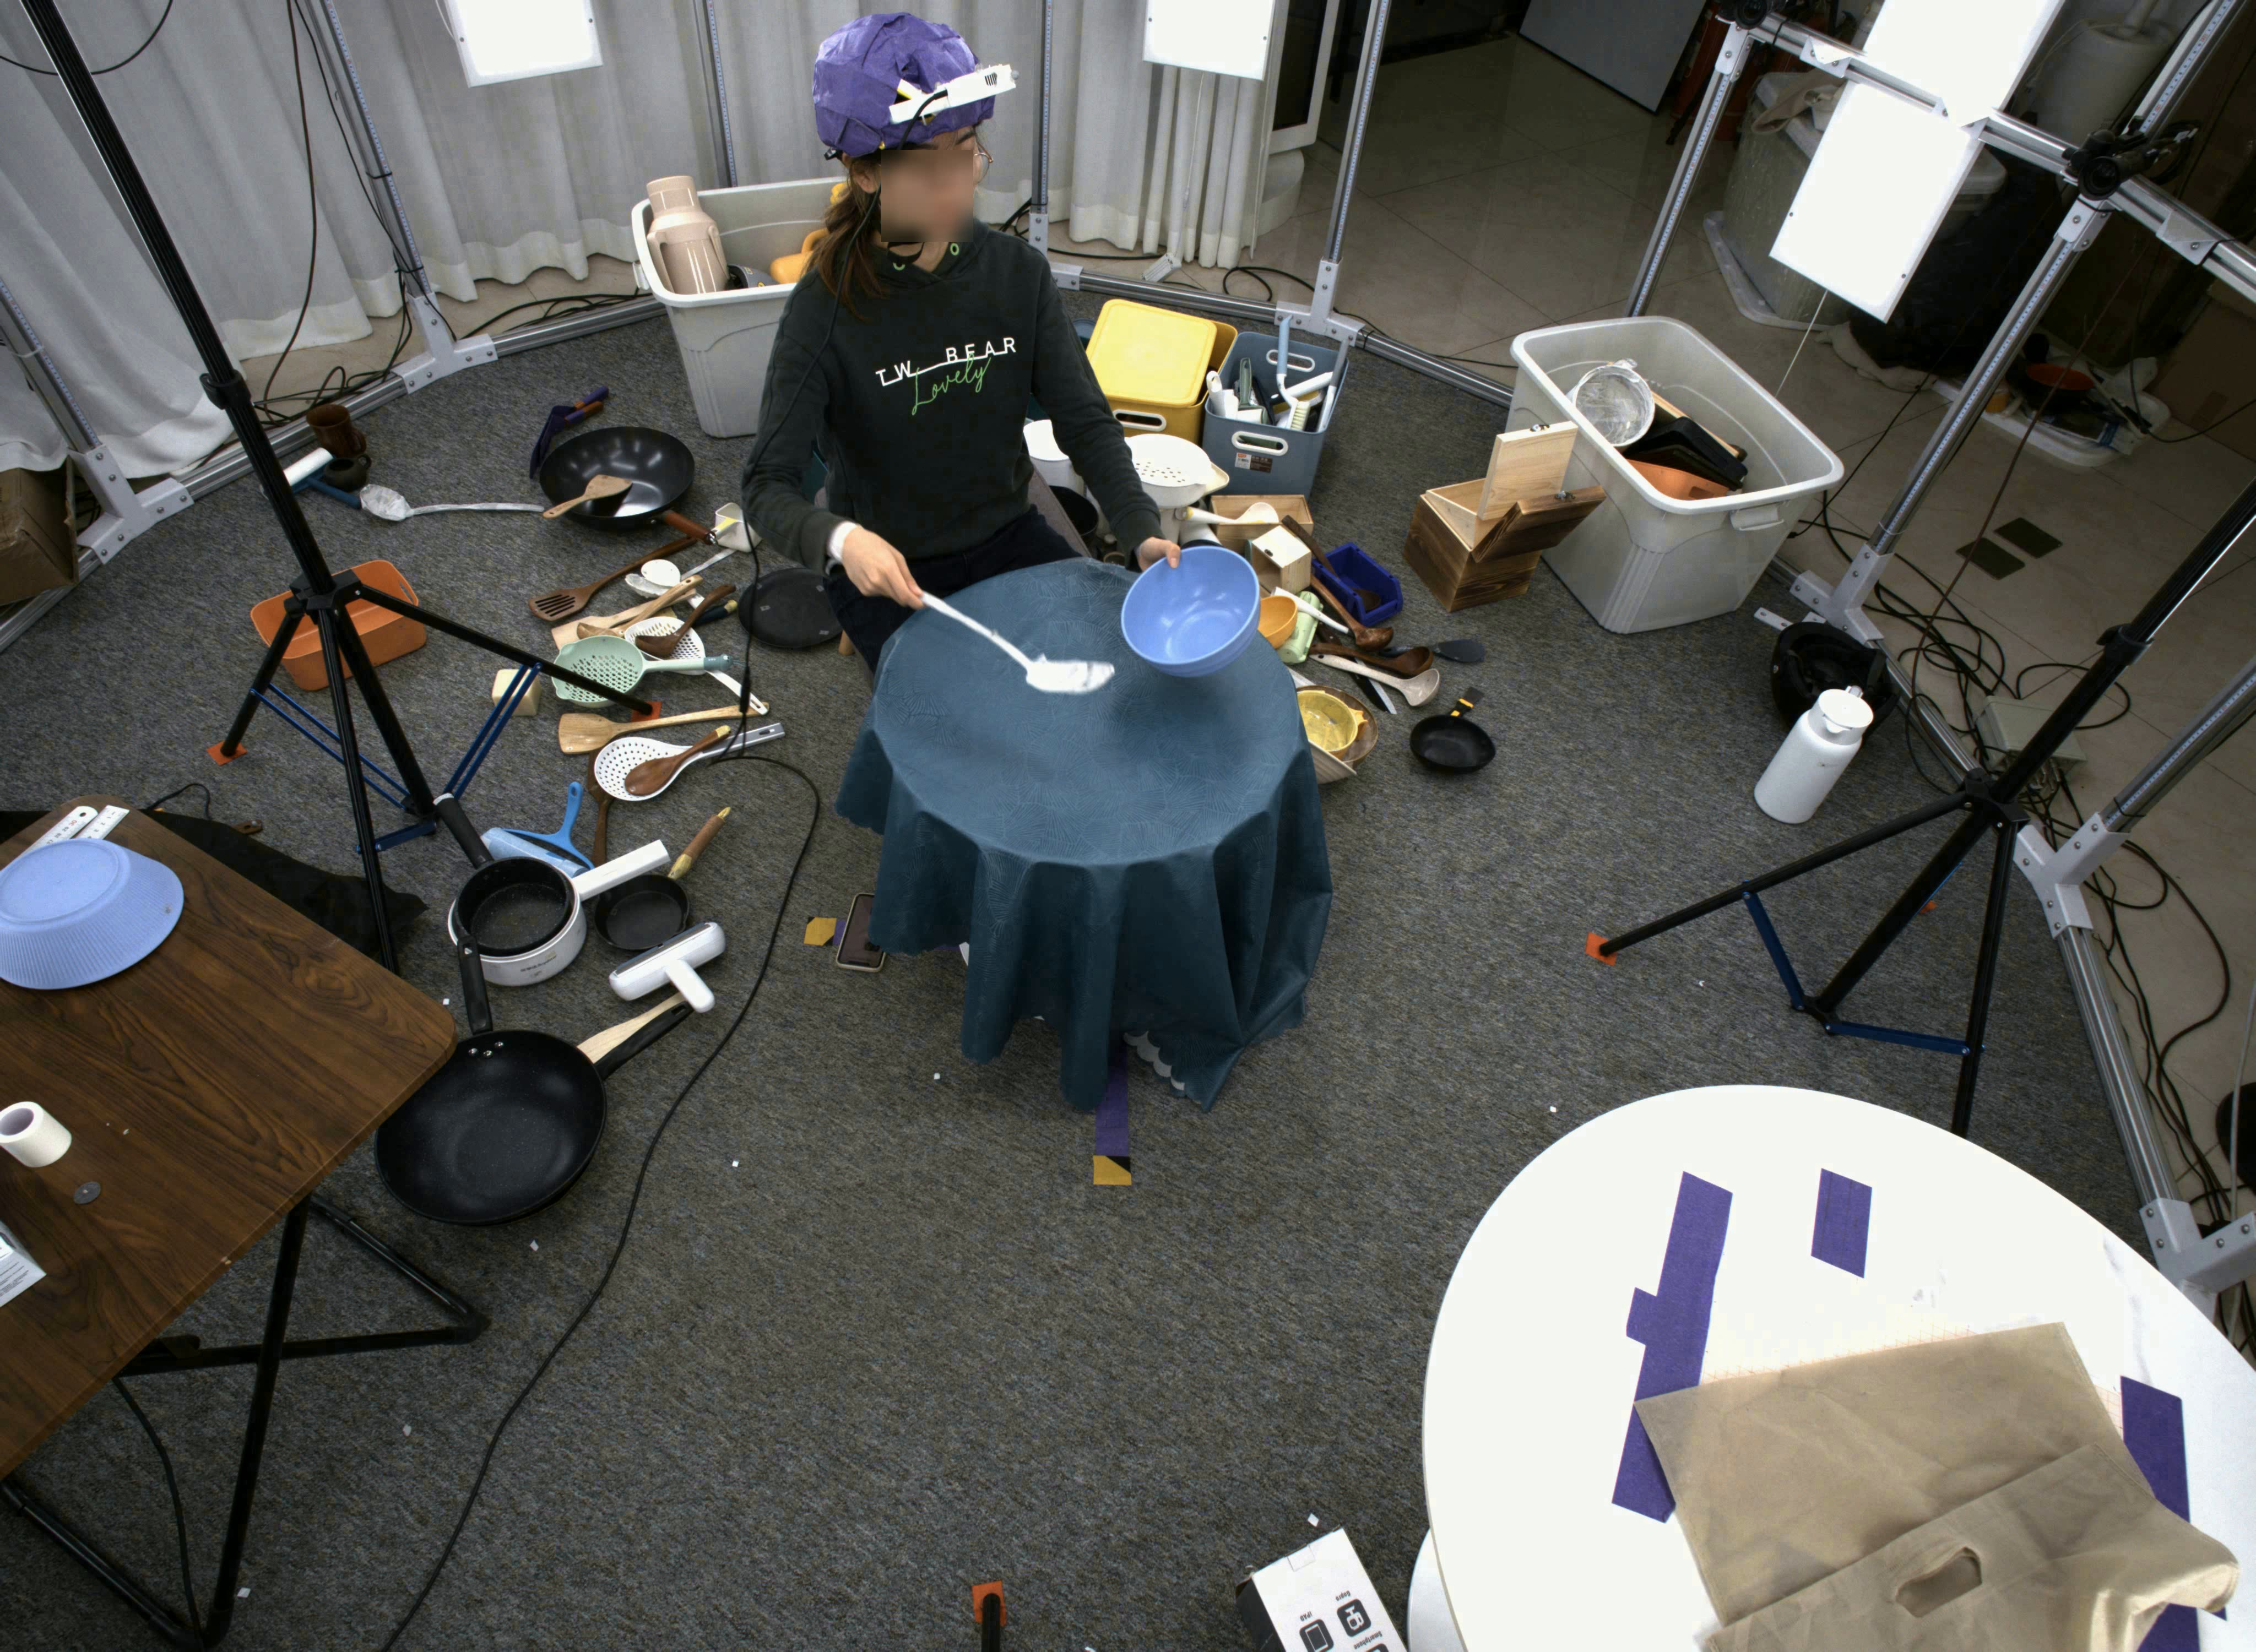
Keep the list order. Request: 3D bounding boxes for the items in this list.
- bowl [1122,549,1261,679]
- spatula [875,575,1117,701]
[{"bbox_3d":[0.098,-0.278,1.786,0.196,0.093,0.201,-10,57,15],"label":"bowl"},{"bbox_3d":[-0.183,-0.248,1.642,0.368,0.044,0.100,32,40,15],"label":"spatula"}]
